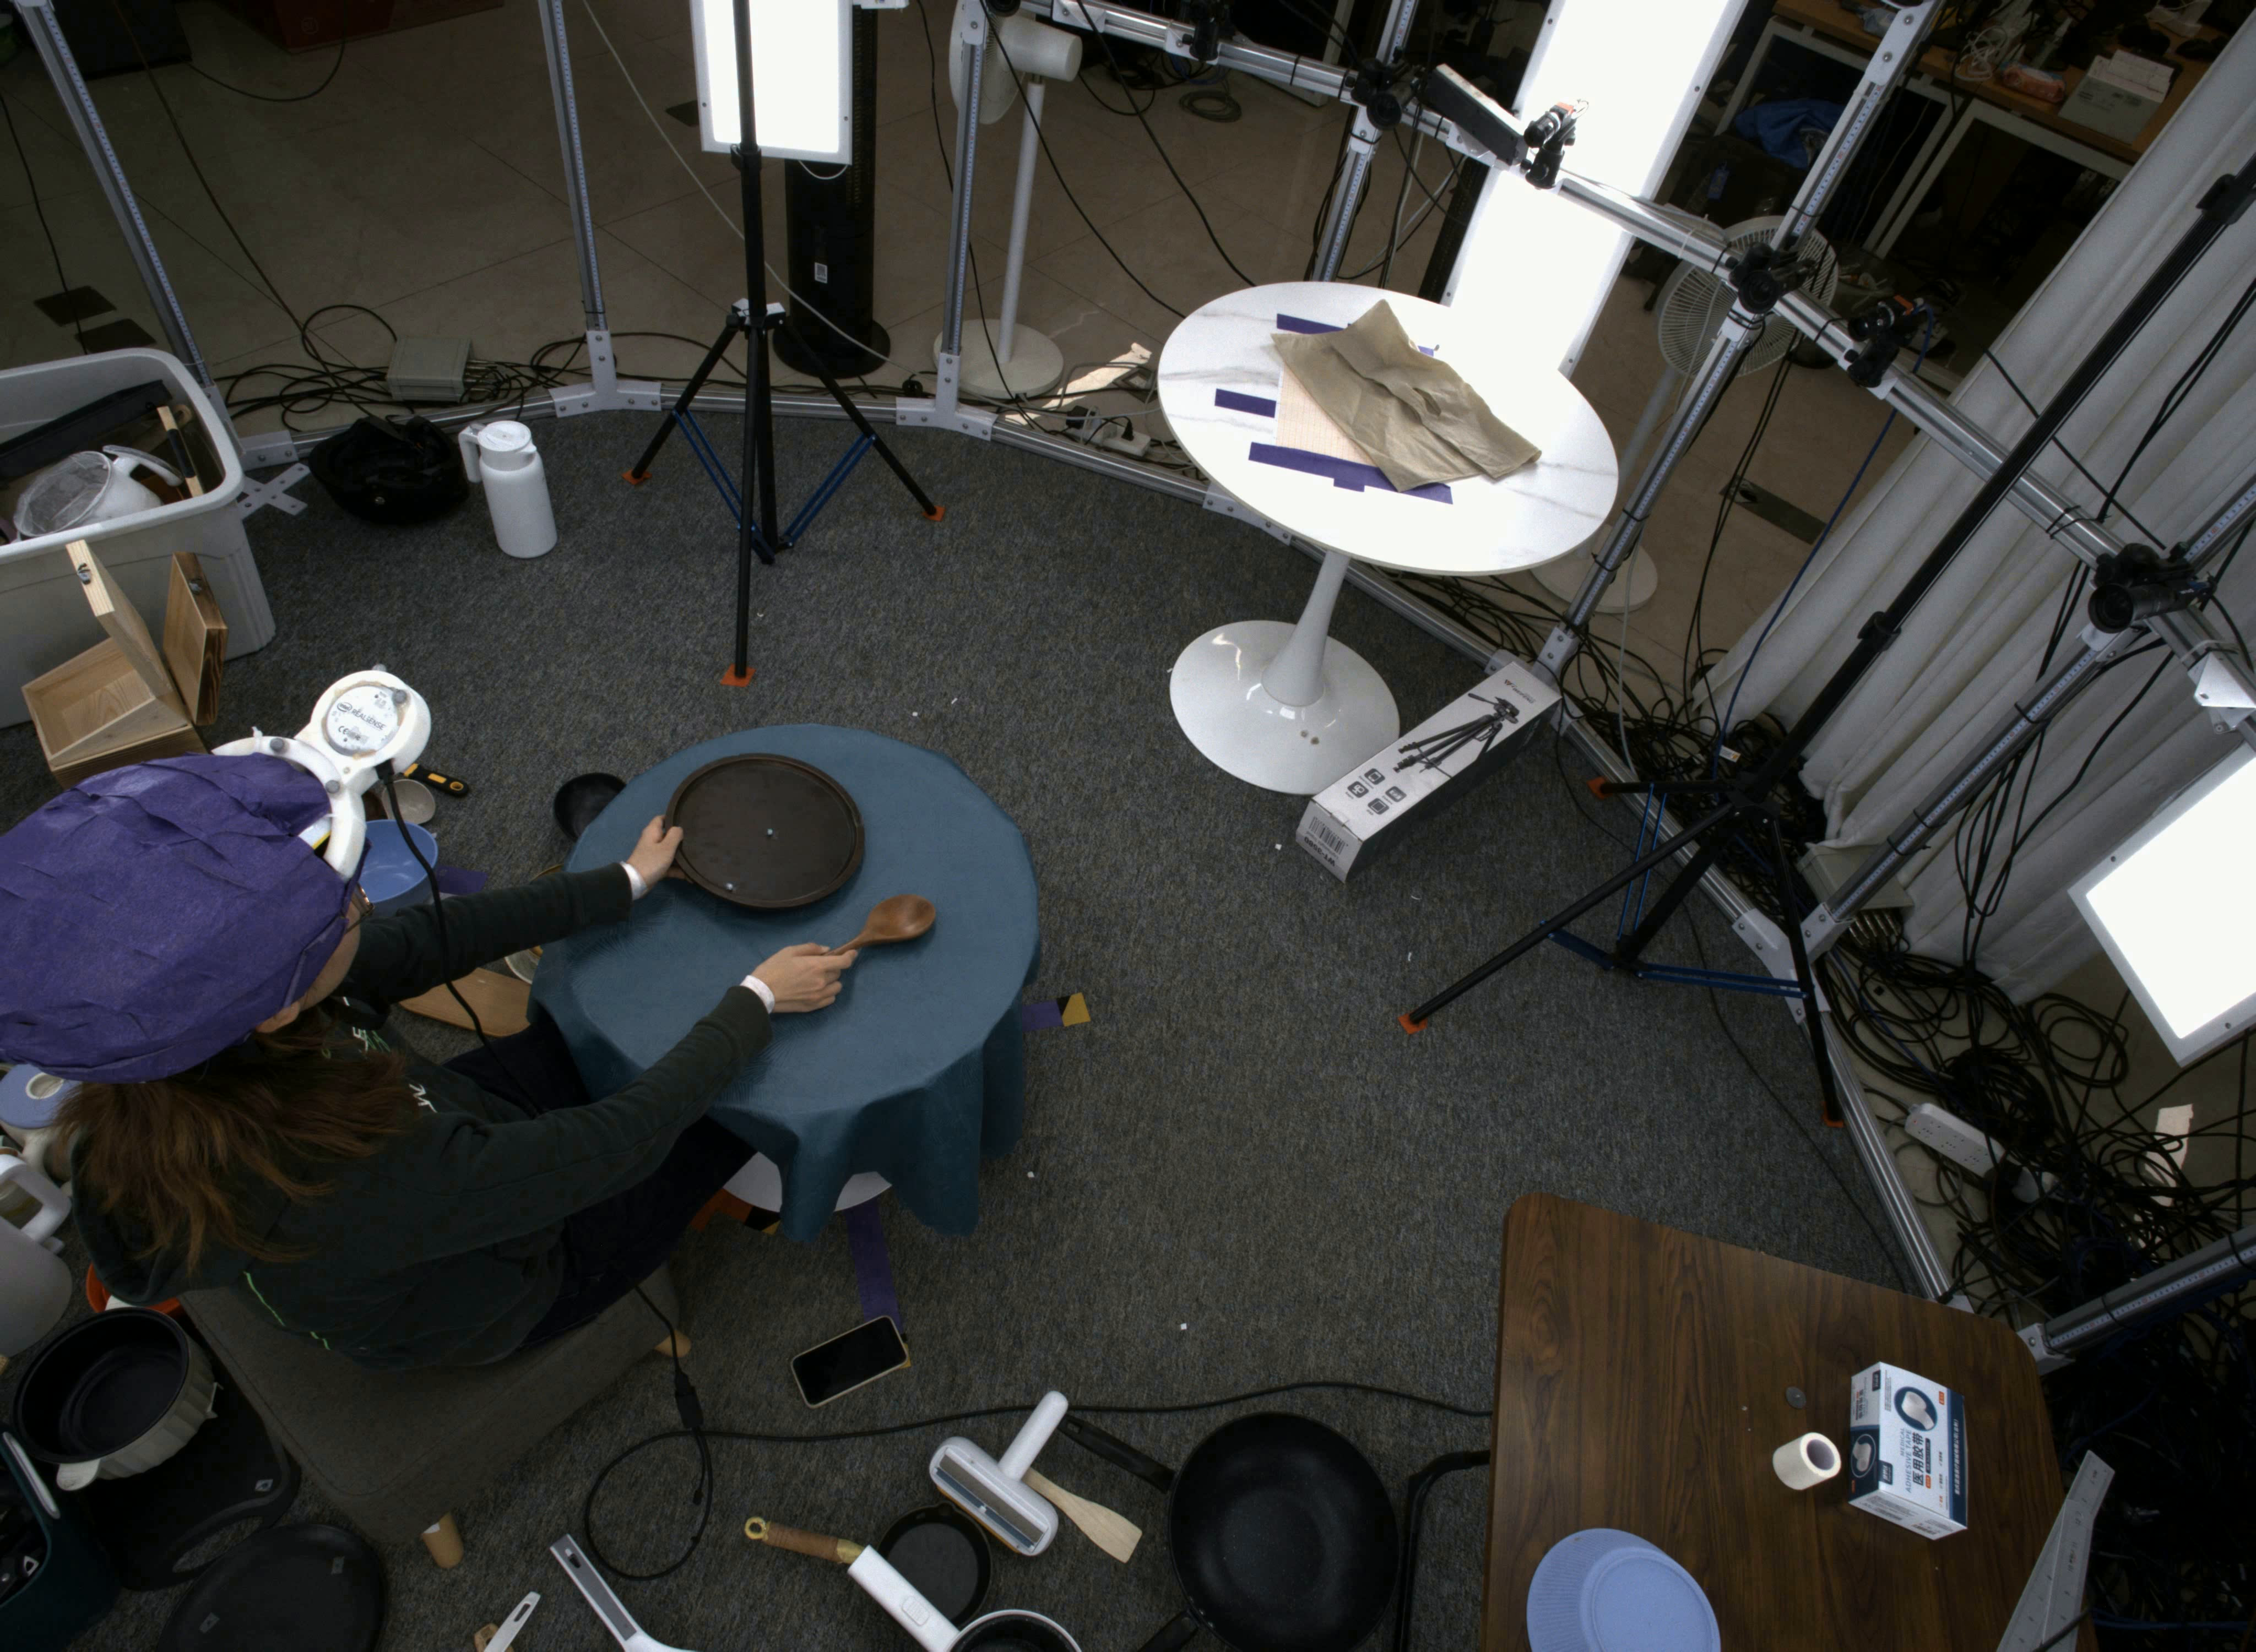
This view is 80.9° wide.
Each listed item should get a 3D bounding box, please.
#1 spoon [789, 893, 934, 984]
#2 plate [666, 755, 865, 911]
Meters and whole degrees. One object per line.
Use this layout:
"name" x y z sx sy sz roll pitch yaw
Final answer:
"spoon" -0.331 0.140 1.619 0.073 0.018 0.217 34 43 26
"plate" -0.469 0.006 1.678 0.256 0.029 0.250 15 47 -14
